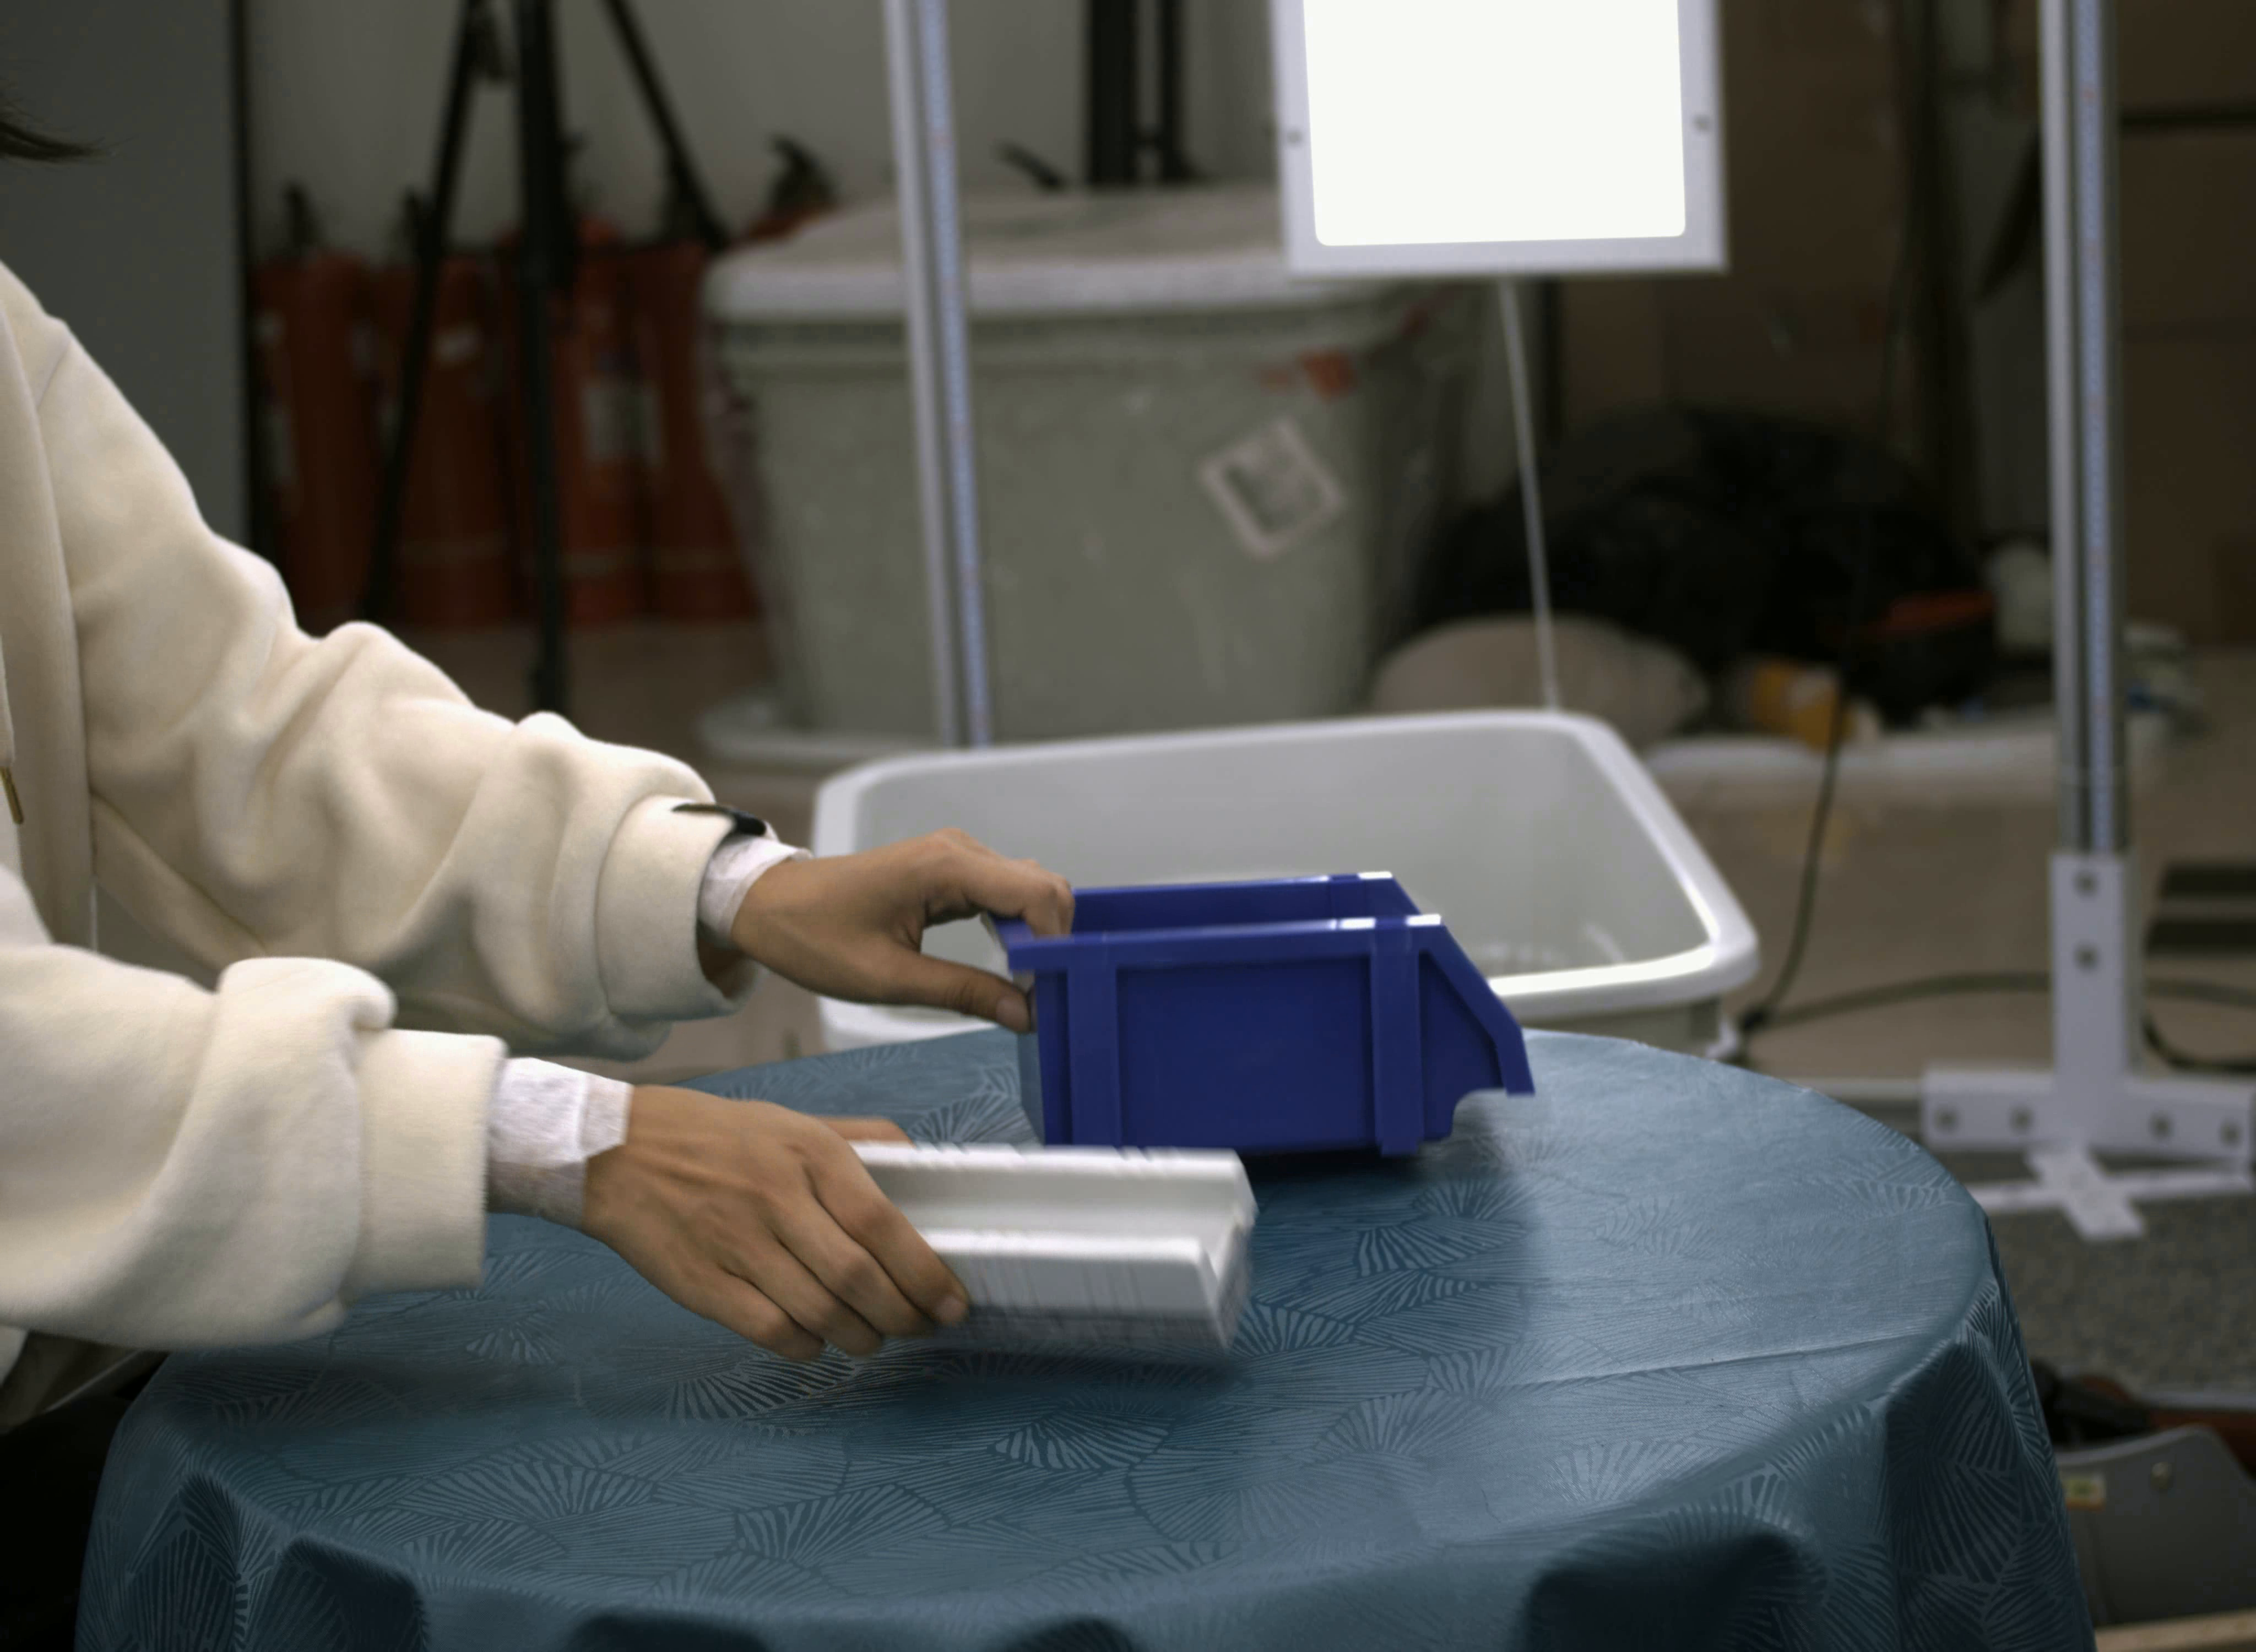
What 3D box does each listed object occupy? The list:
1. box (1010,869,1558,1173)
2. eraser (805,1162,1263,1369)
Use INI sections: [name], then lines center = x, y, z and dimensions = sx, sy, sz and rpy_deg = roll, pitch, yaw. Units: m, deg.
[box]
center = 0.053, 0.067, 1.925
dimensions = 0.178, 0.082, 0.124
rpy_deg = -5, 9, -2
[eraser]
center = -0.028, 0.136, 1.714
dimensions = 0.136, 0.046, 0.049
rpy_deg = 0, 40, 22
